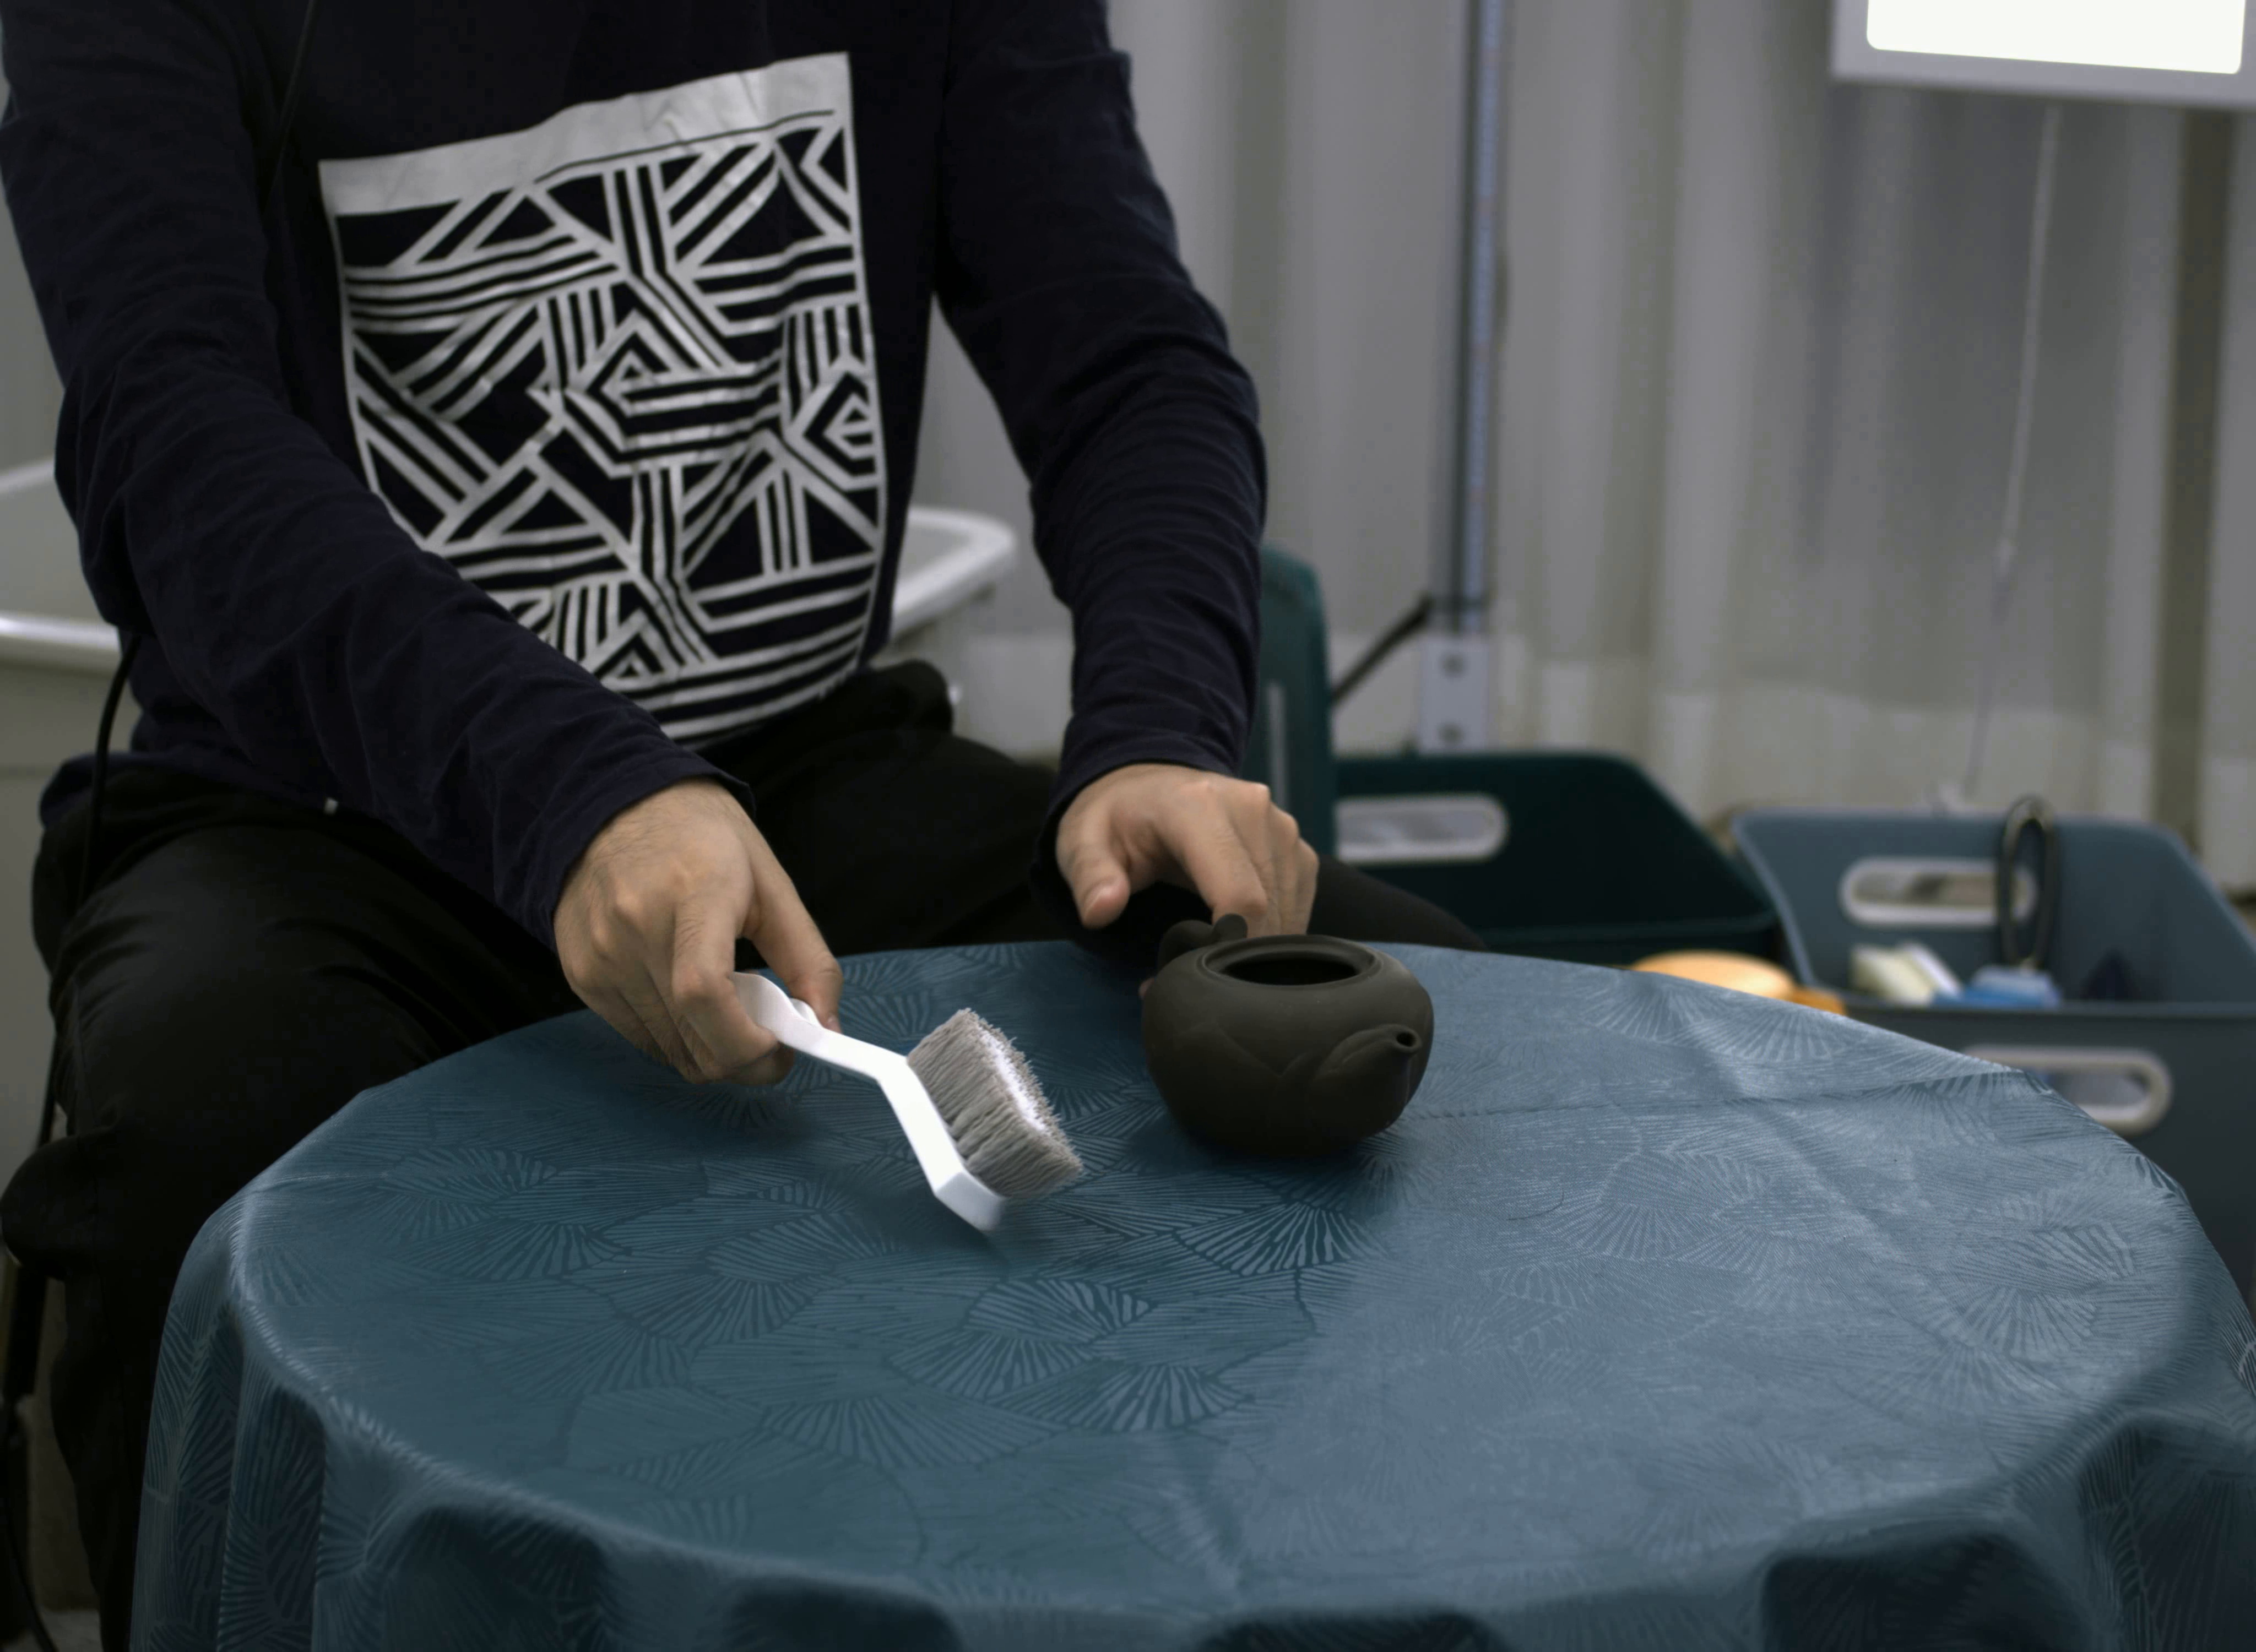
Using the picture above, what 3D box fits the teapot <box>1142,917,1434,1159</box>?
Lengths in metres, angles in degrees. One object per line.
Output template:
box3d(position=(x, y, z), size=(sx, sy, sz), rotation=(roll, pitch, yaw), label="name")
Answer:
box3d(position=(0.049, 0.068, 1.674), size=(0.093, 0.065, 0.152), rotation=(-9, 17, -27), label="teapot")

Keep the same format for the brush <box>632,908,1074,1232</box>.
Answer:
box3d(position=(-0.089, 0.058, 1.655), size=(0.035, 0.050, 0.240), rotation=(26, 6, -38), label="brush")
